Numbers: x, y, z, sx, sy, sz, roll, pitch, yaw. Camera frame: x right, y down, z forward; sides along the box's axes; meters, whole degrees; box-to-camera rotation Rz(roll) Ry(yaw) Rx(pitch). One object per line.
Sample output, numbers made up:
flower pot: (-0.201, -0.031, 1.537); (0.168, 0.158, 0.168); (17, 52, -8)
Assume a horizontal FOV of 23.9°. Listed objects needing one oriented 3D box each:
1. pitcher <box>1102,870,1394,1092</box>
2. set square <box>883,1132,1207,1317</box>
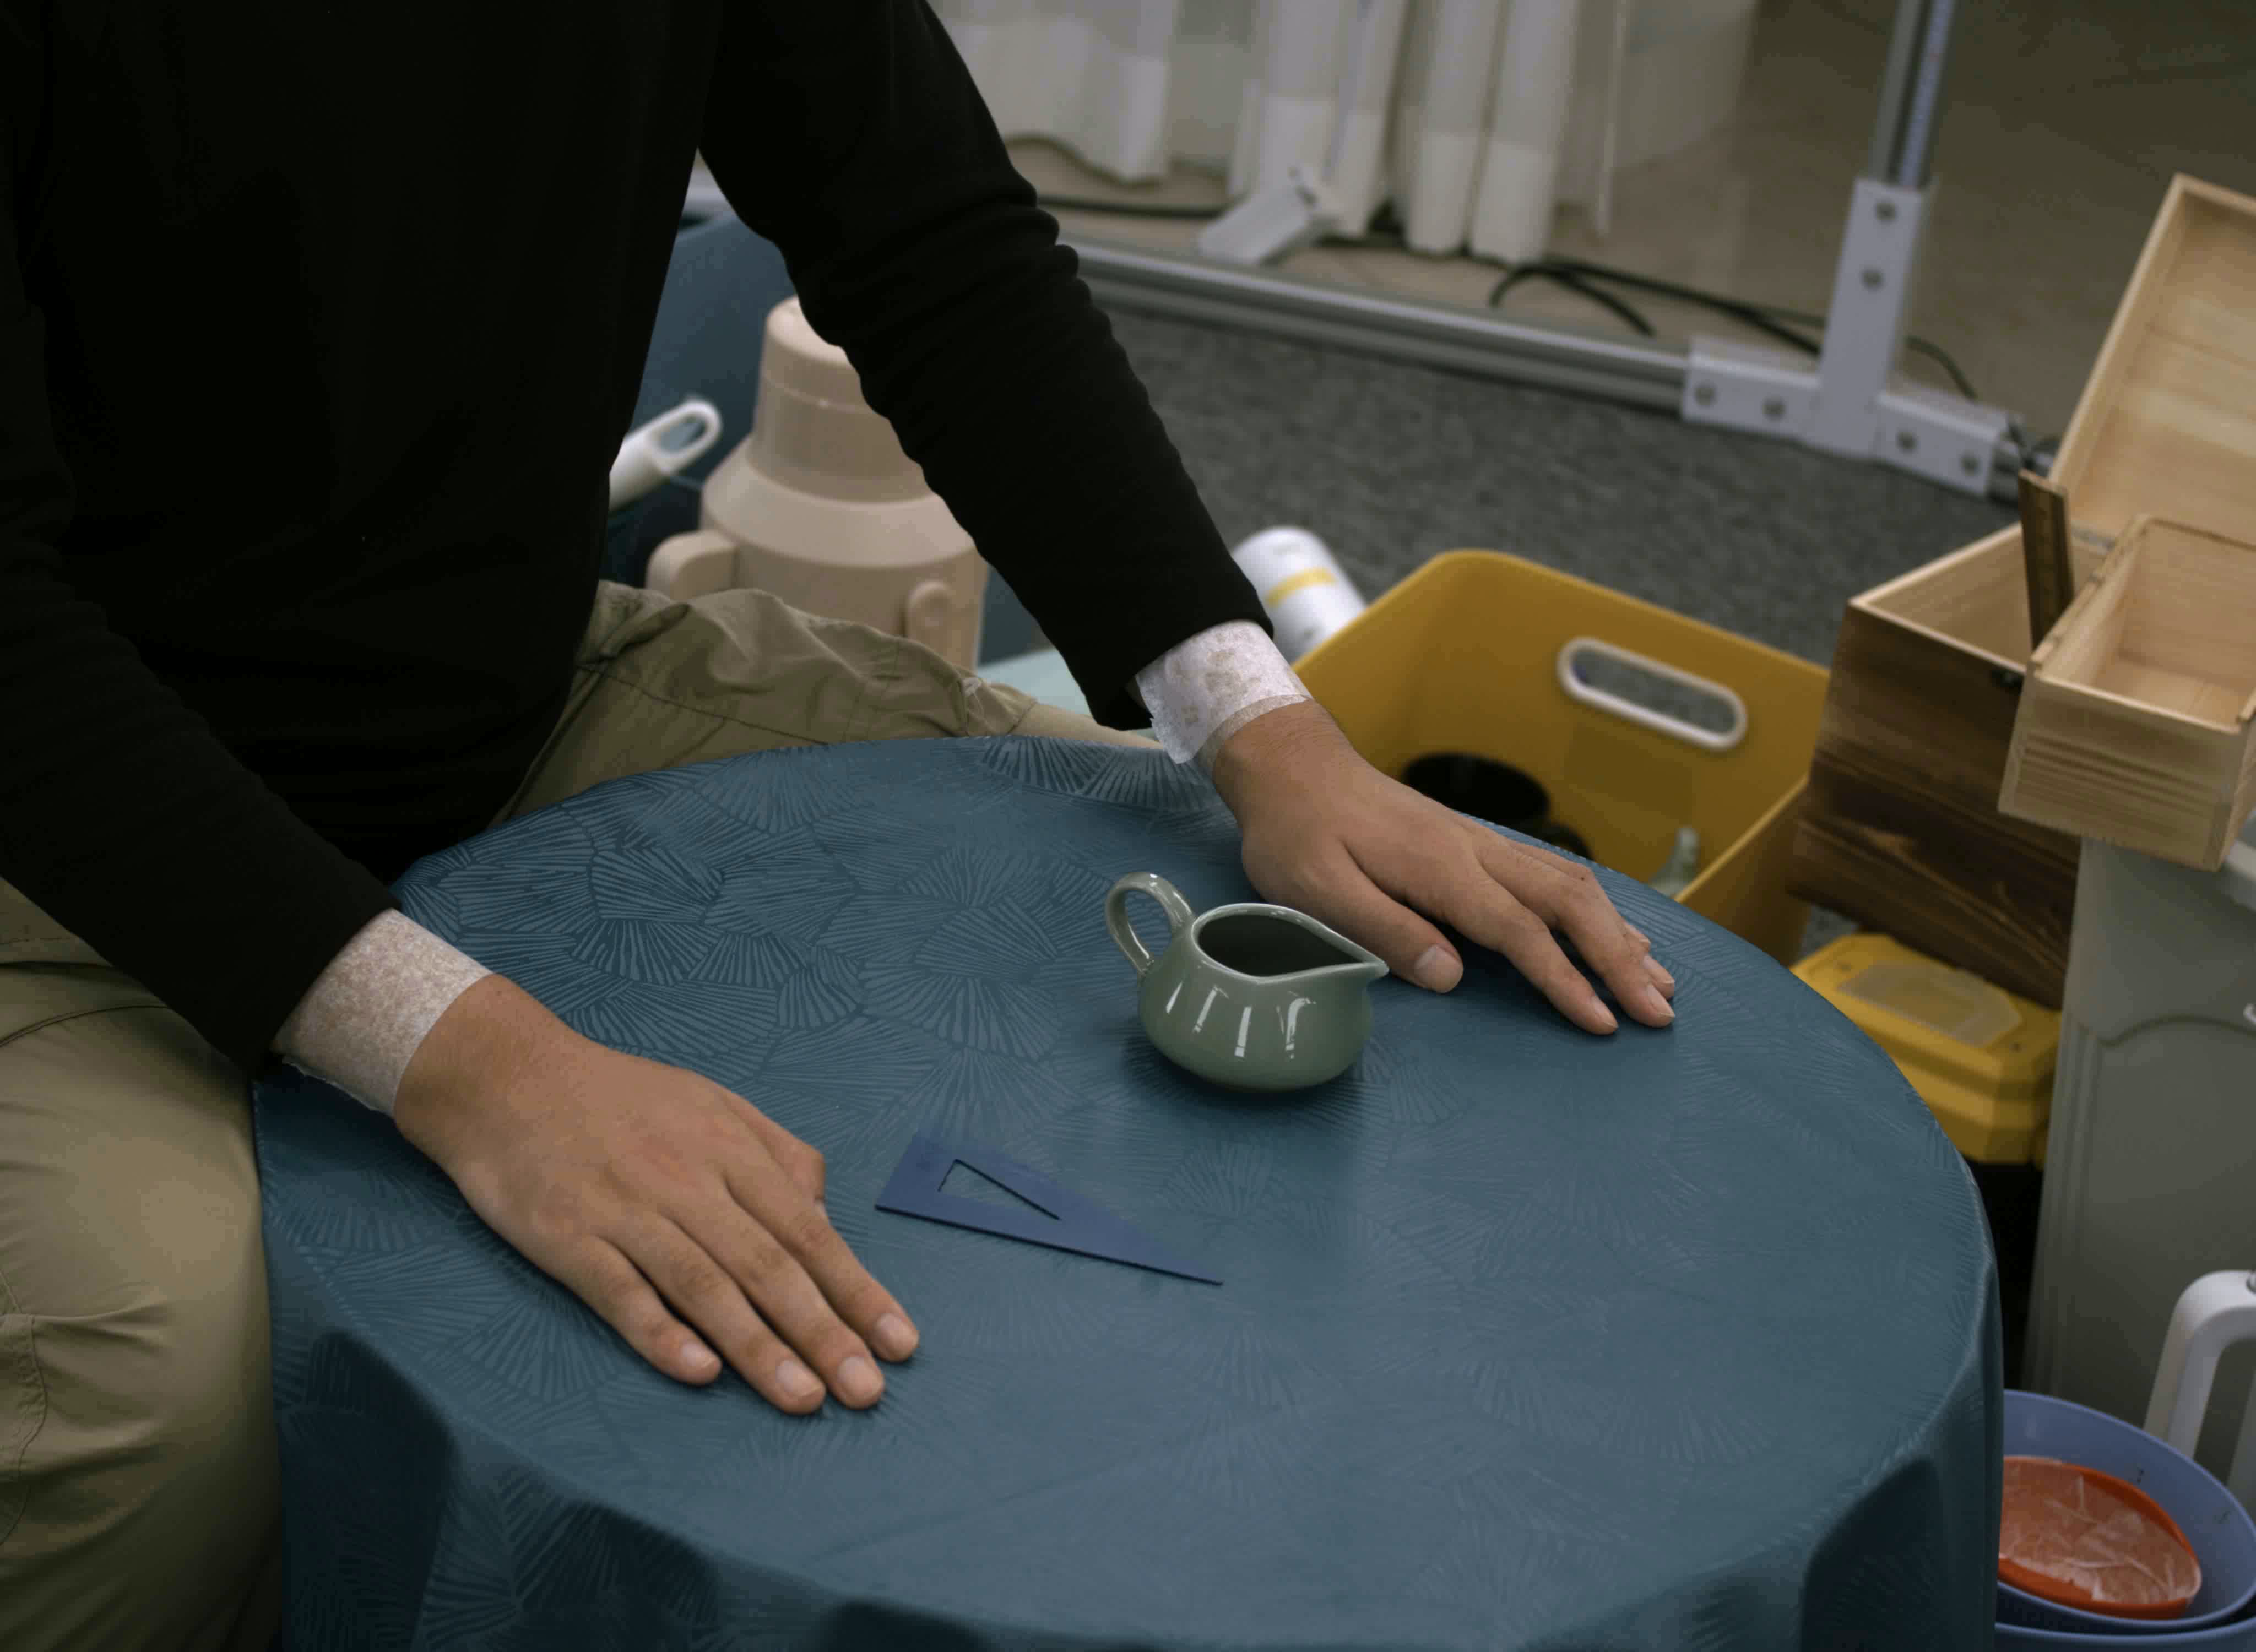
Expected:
pitcher: (0.040, 0.055, 1.883); (0.113, 0.056, 0.084); (19, 27, 23)
set square: (-0.035, 0.137, 1.764); (0.061, 0.006, 0.133); (-17, 35, -40)
